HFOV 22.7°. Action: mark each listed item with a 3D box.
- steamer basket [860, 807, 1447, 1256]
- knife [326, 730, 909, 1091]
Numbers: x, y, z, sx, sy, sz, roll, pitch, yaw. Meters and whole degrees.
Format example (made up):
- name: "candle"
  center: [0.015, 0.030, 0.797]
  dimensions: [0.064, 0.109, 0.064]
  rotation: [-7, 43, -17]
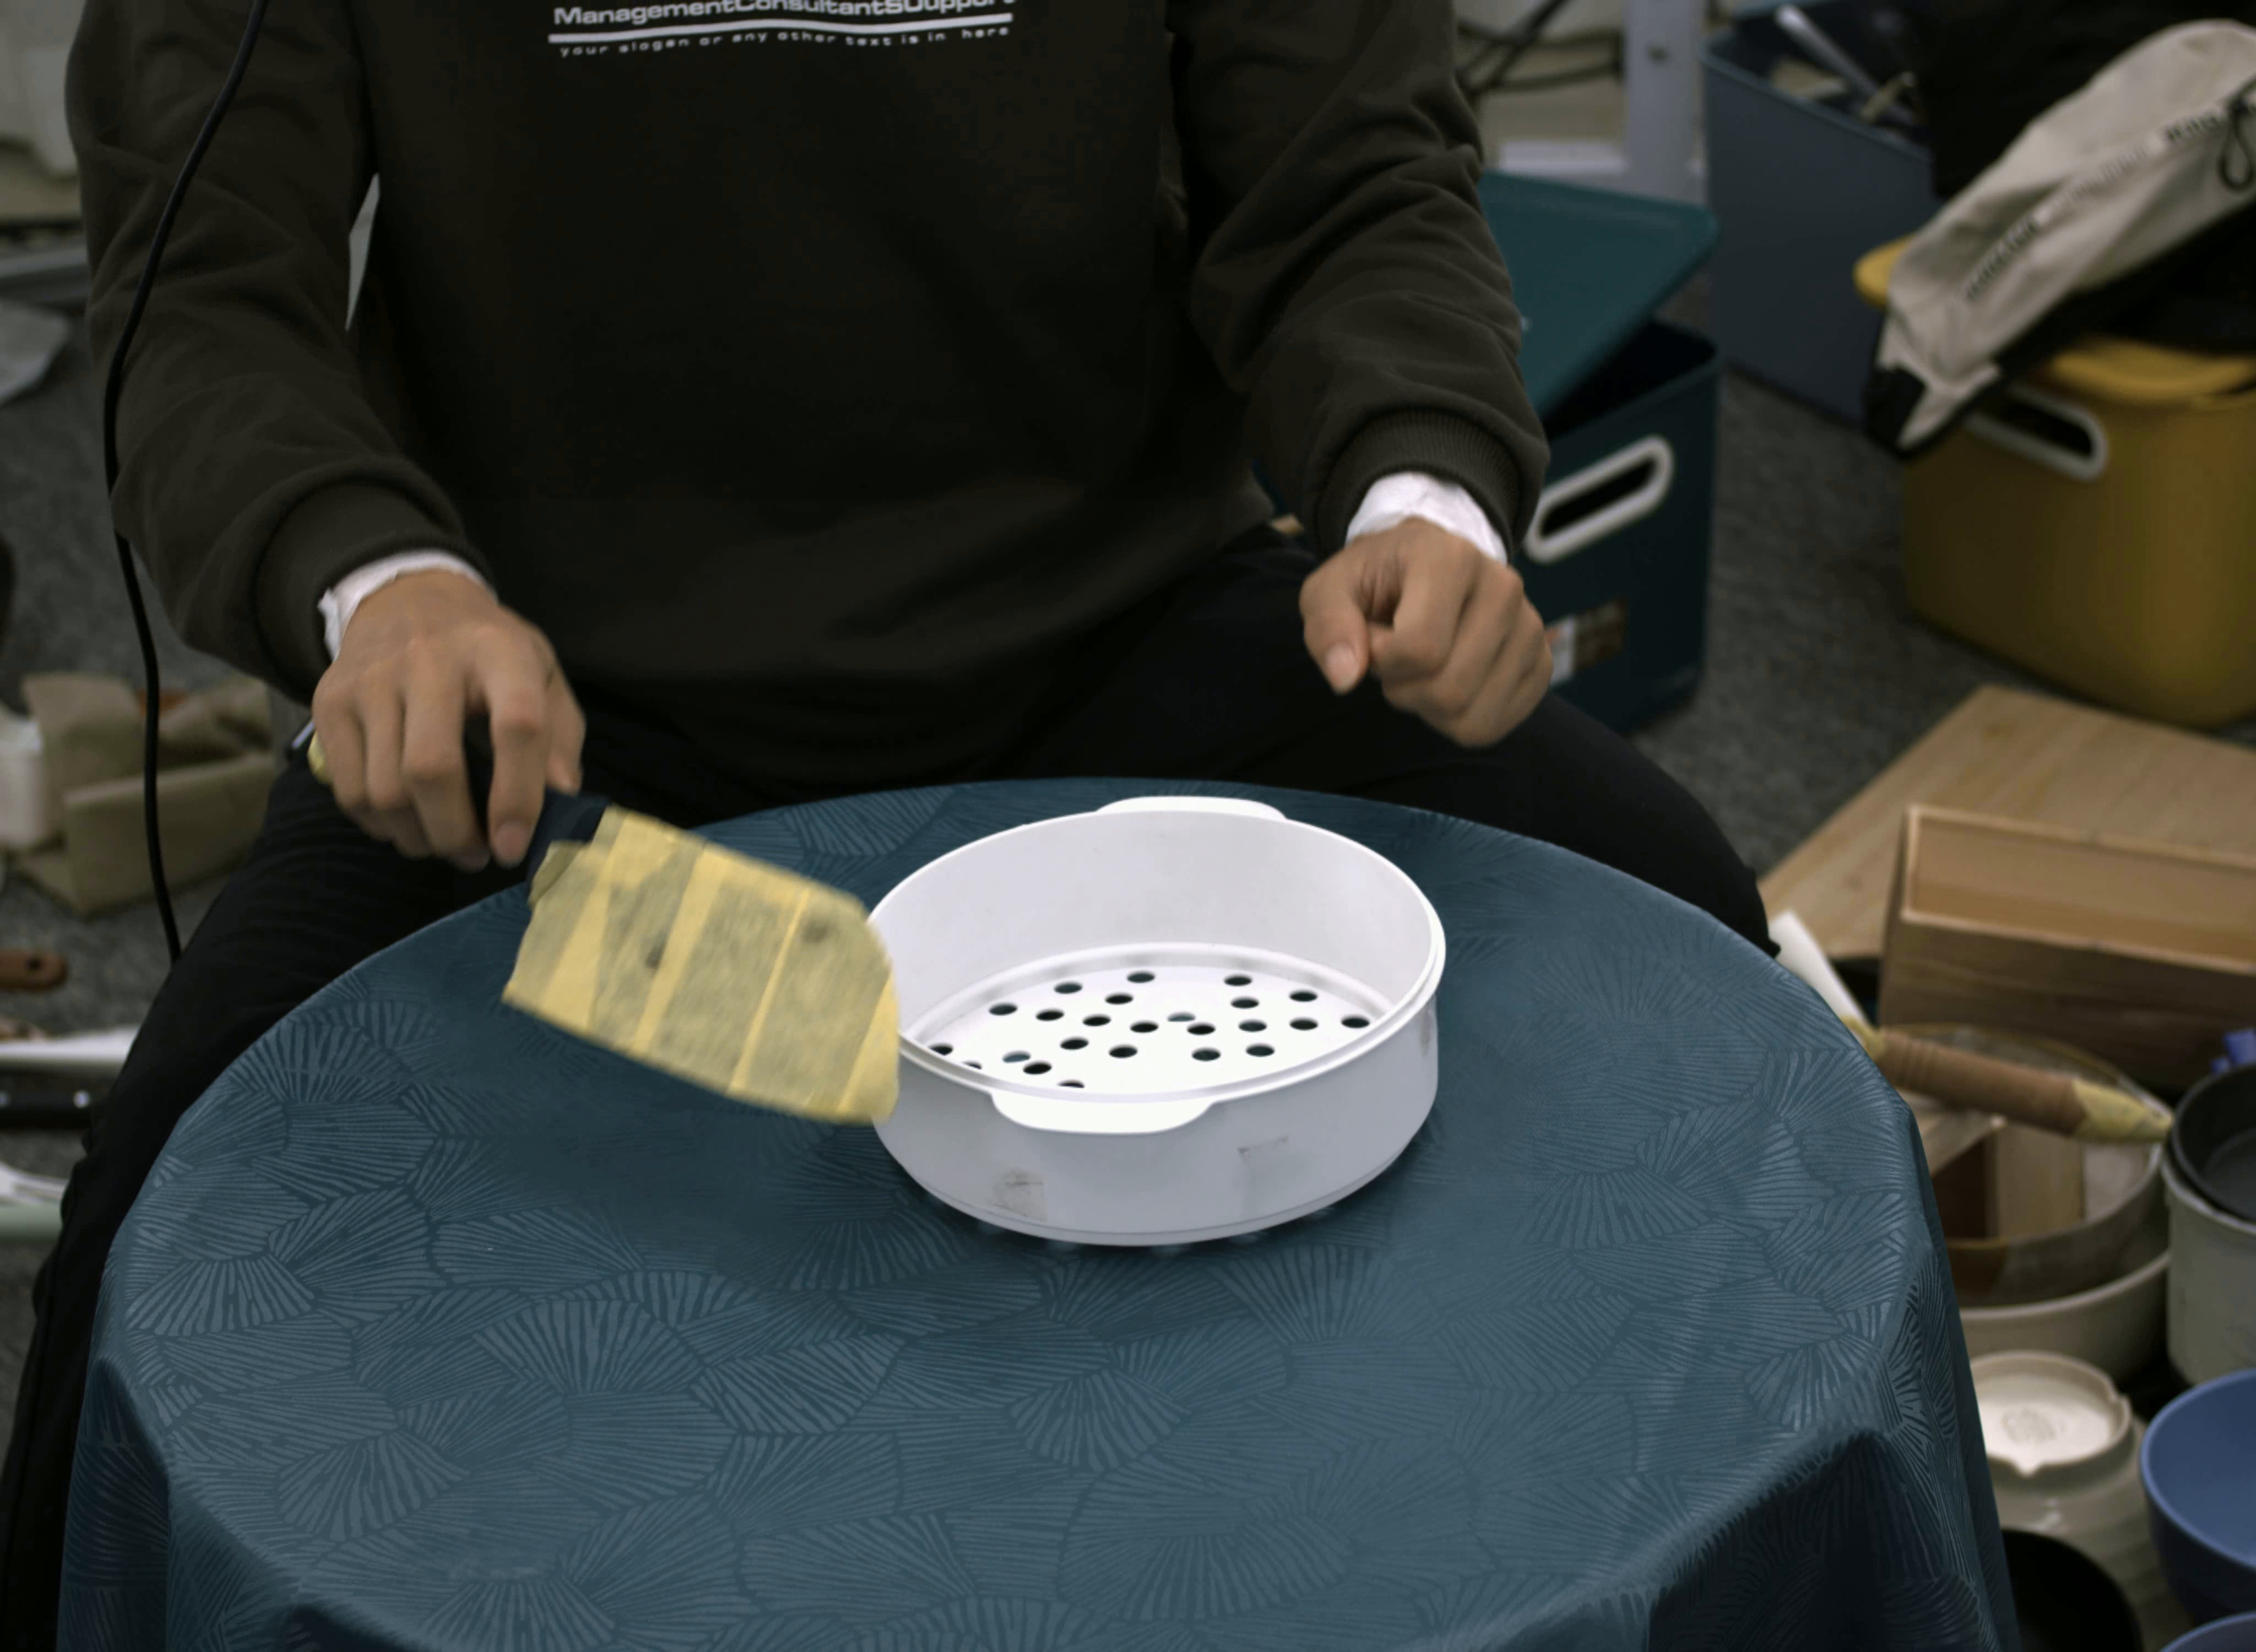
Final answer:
- name: "steamer basket"
  center: [0.007, 0.070, 1.887]
  dimensions: [0.200, 0.068, 0.234]
  rotation: [3, 27, 9]
- name: "knife"
  center: [-0.172, 0.025, 1.849]
  dimensions: [0.289, 0.081, 0.027]
  rotation: [22, -3, 40]
